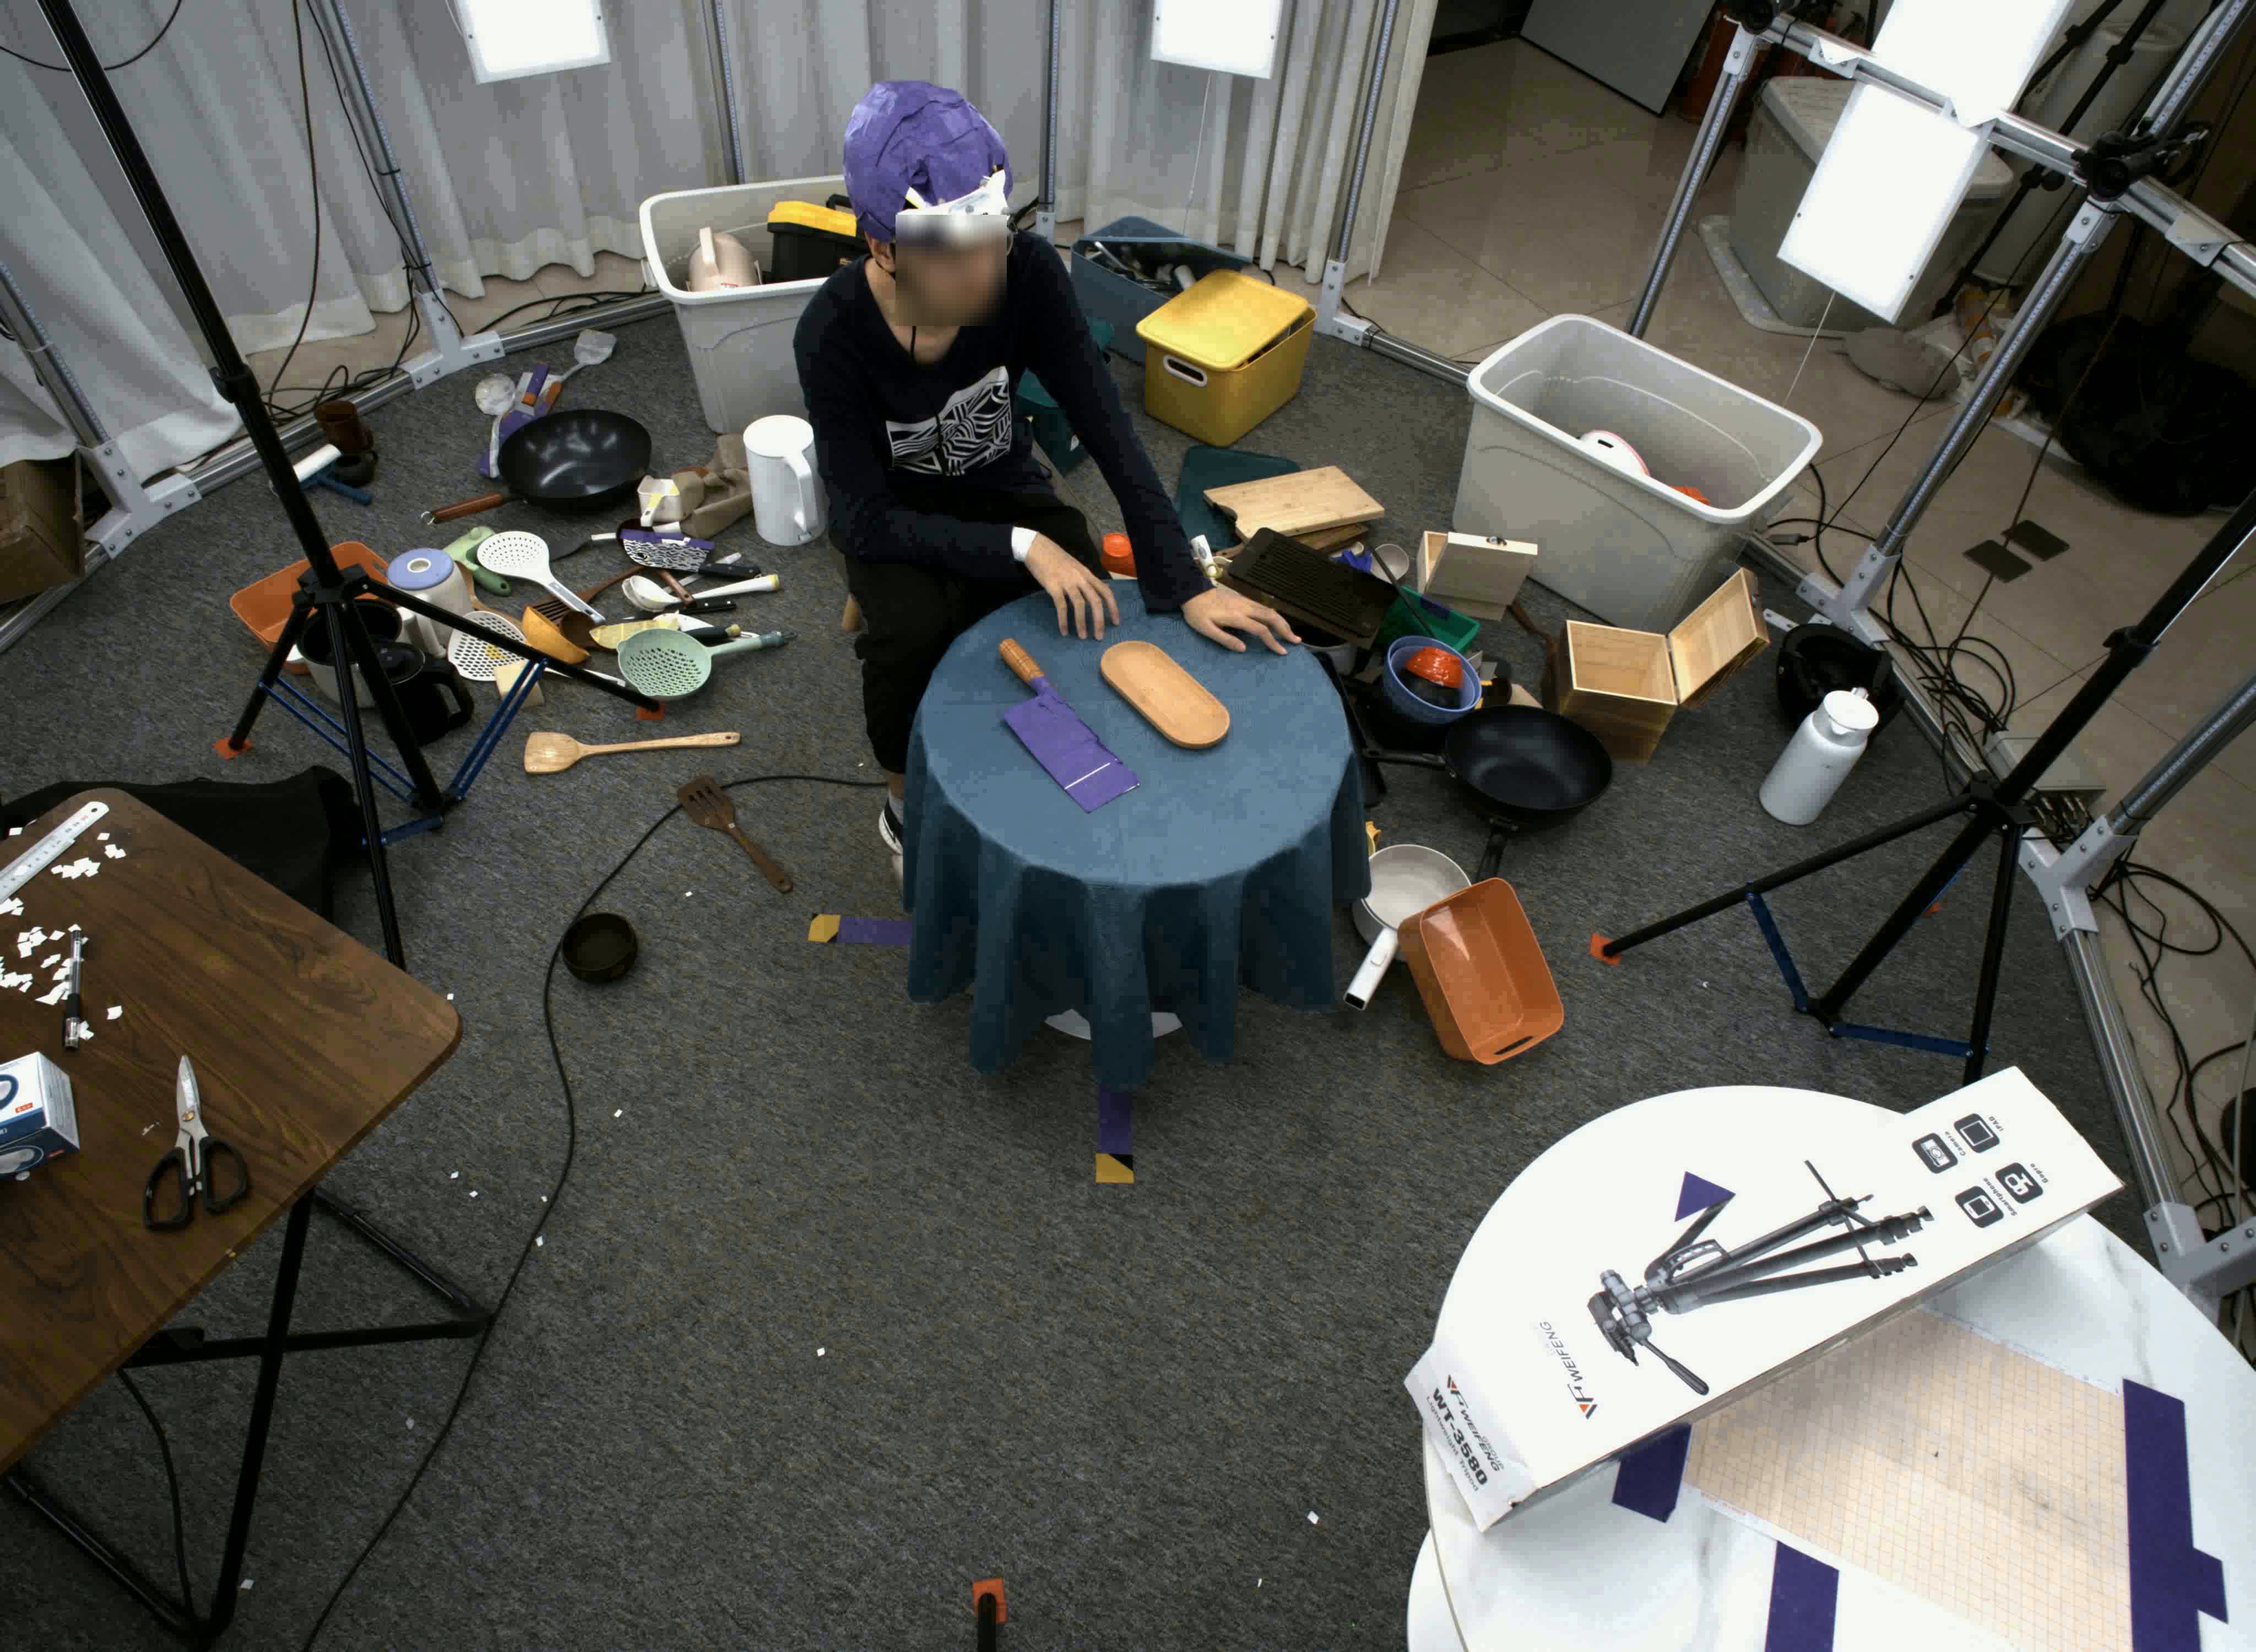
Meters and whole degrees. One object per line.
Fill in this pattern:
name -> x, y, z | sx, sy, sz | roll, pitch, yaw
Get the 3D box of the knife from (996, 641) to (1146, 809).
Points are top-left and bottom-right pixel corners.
knife -> -0.108, -0.143, 1.767 | 0.104, 0.031, 0.321 | -28, 57, -25

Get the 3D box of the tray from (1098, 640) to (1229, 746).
tray -> 0.049, -0.191, 1.826 | 0.102, 0.020, 0.235 | -29, 55, -27
